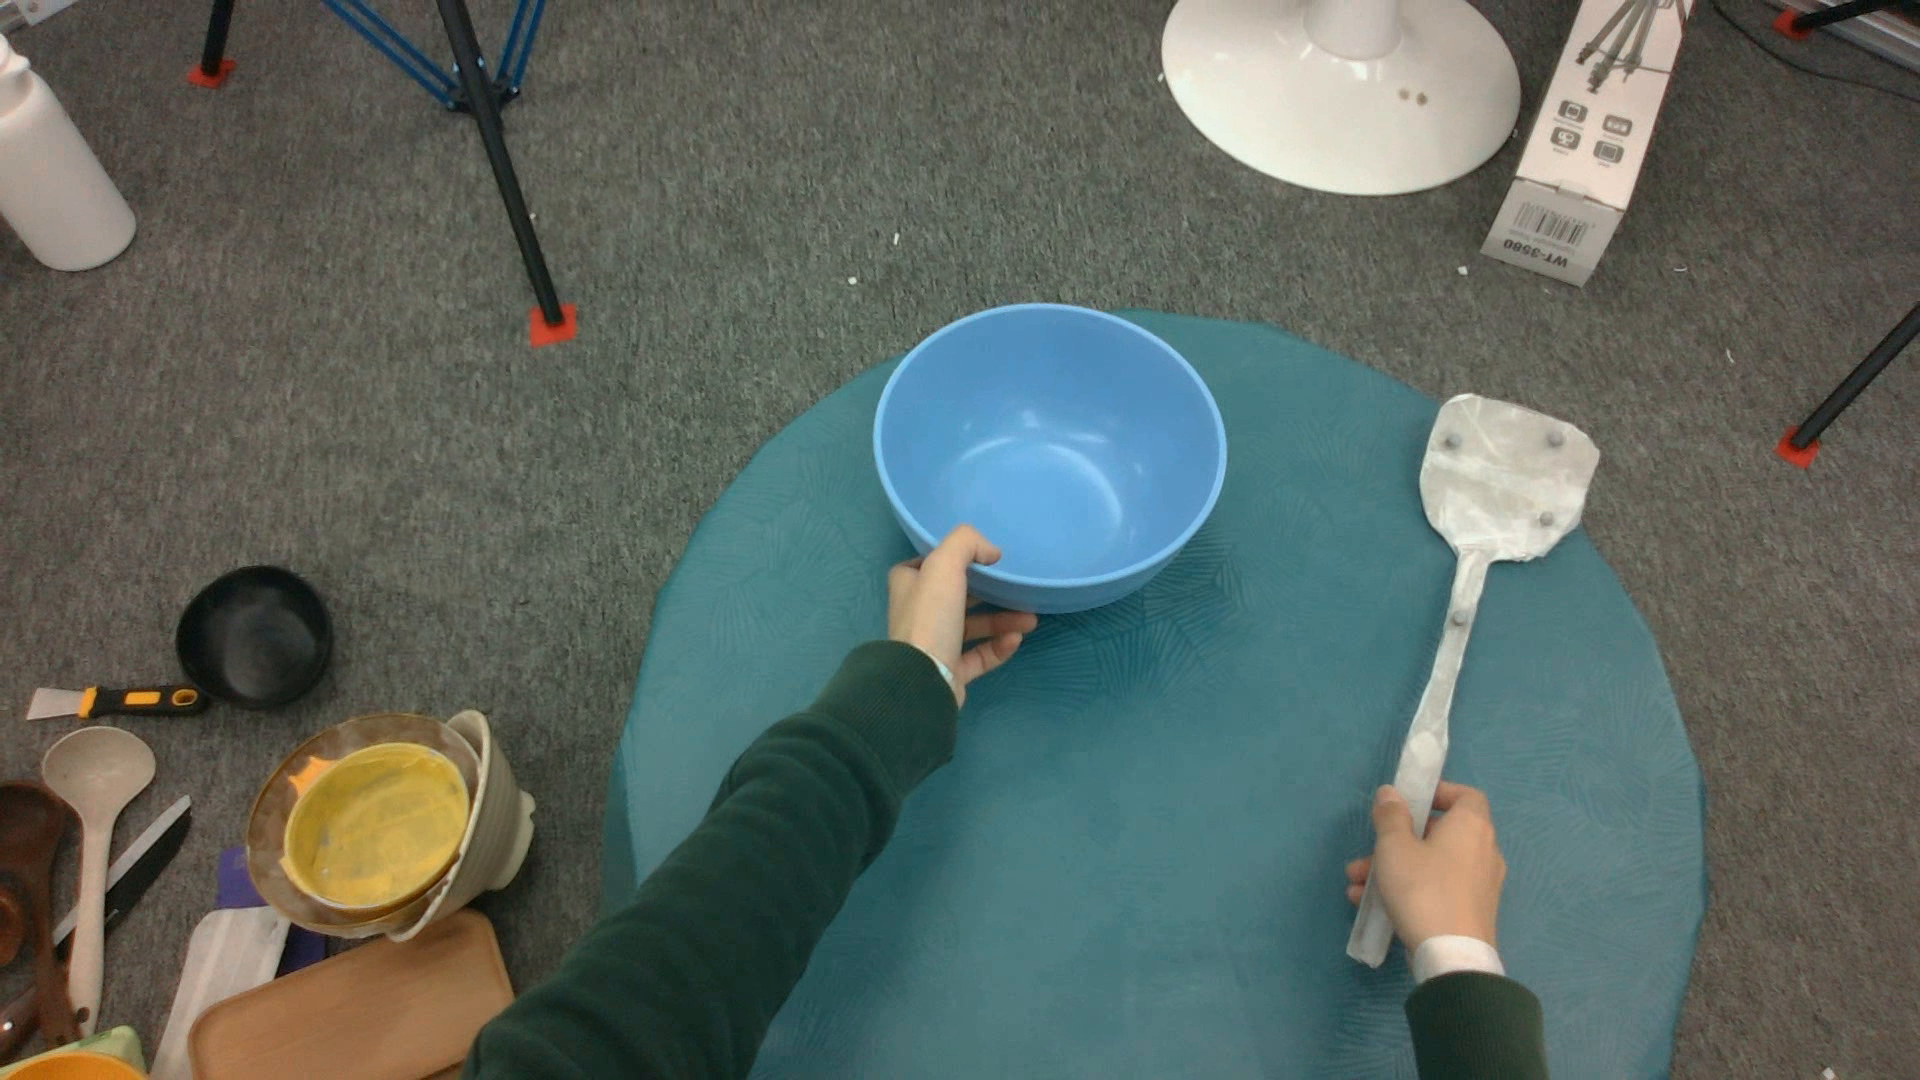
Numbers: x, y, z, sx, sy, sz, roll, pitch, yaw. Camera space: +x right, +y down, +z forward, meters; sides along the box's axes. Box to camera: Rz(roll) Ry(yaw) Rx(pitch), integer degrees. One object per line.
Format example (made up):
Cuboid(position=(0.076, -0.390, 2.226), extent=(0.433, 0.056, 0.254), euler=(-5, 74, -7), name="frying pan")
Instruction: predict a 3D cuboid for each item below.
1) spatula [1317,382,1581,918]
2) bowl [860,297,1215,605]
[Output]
Cuboid(position=(0.269, 0.053, 0.781), extent=(0.098, 0.044, 0.367), euler=(23, 56, 11), name="spatula")
Cuboid(position=(0.041, -0.037, 0.795), extent=(0.196, 0.095, 0.197), euler=(2, 55, -2), name="bowl")
